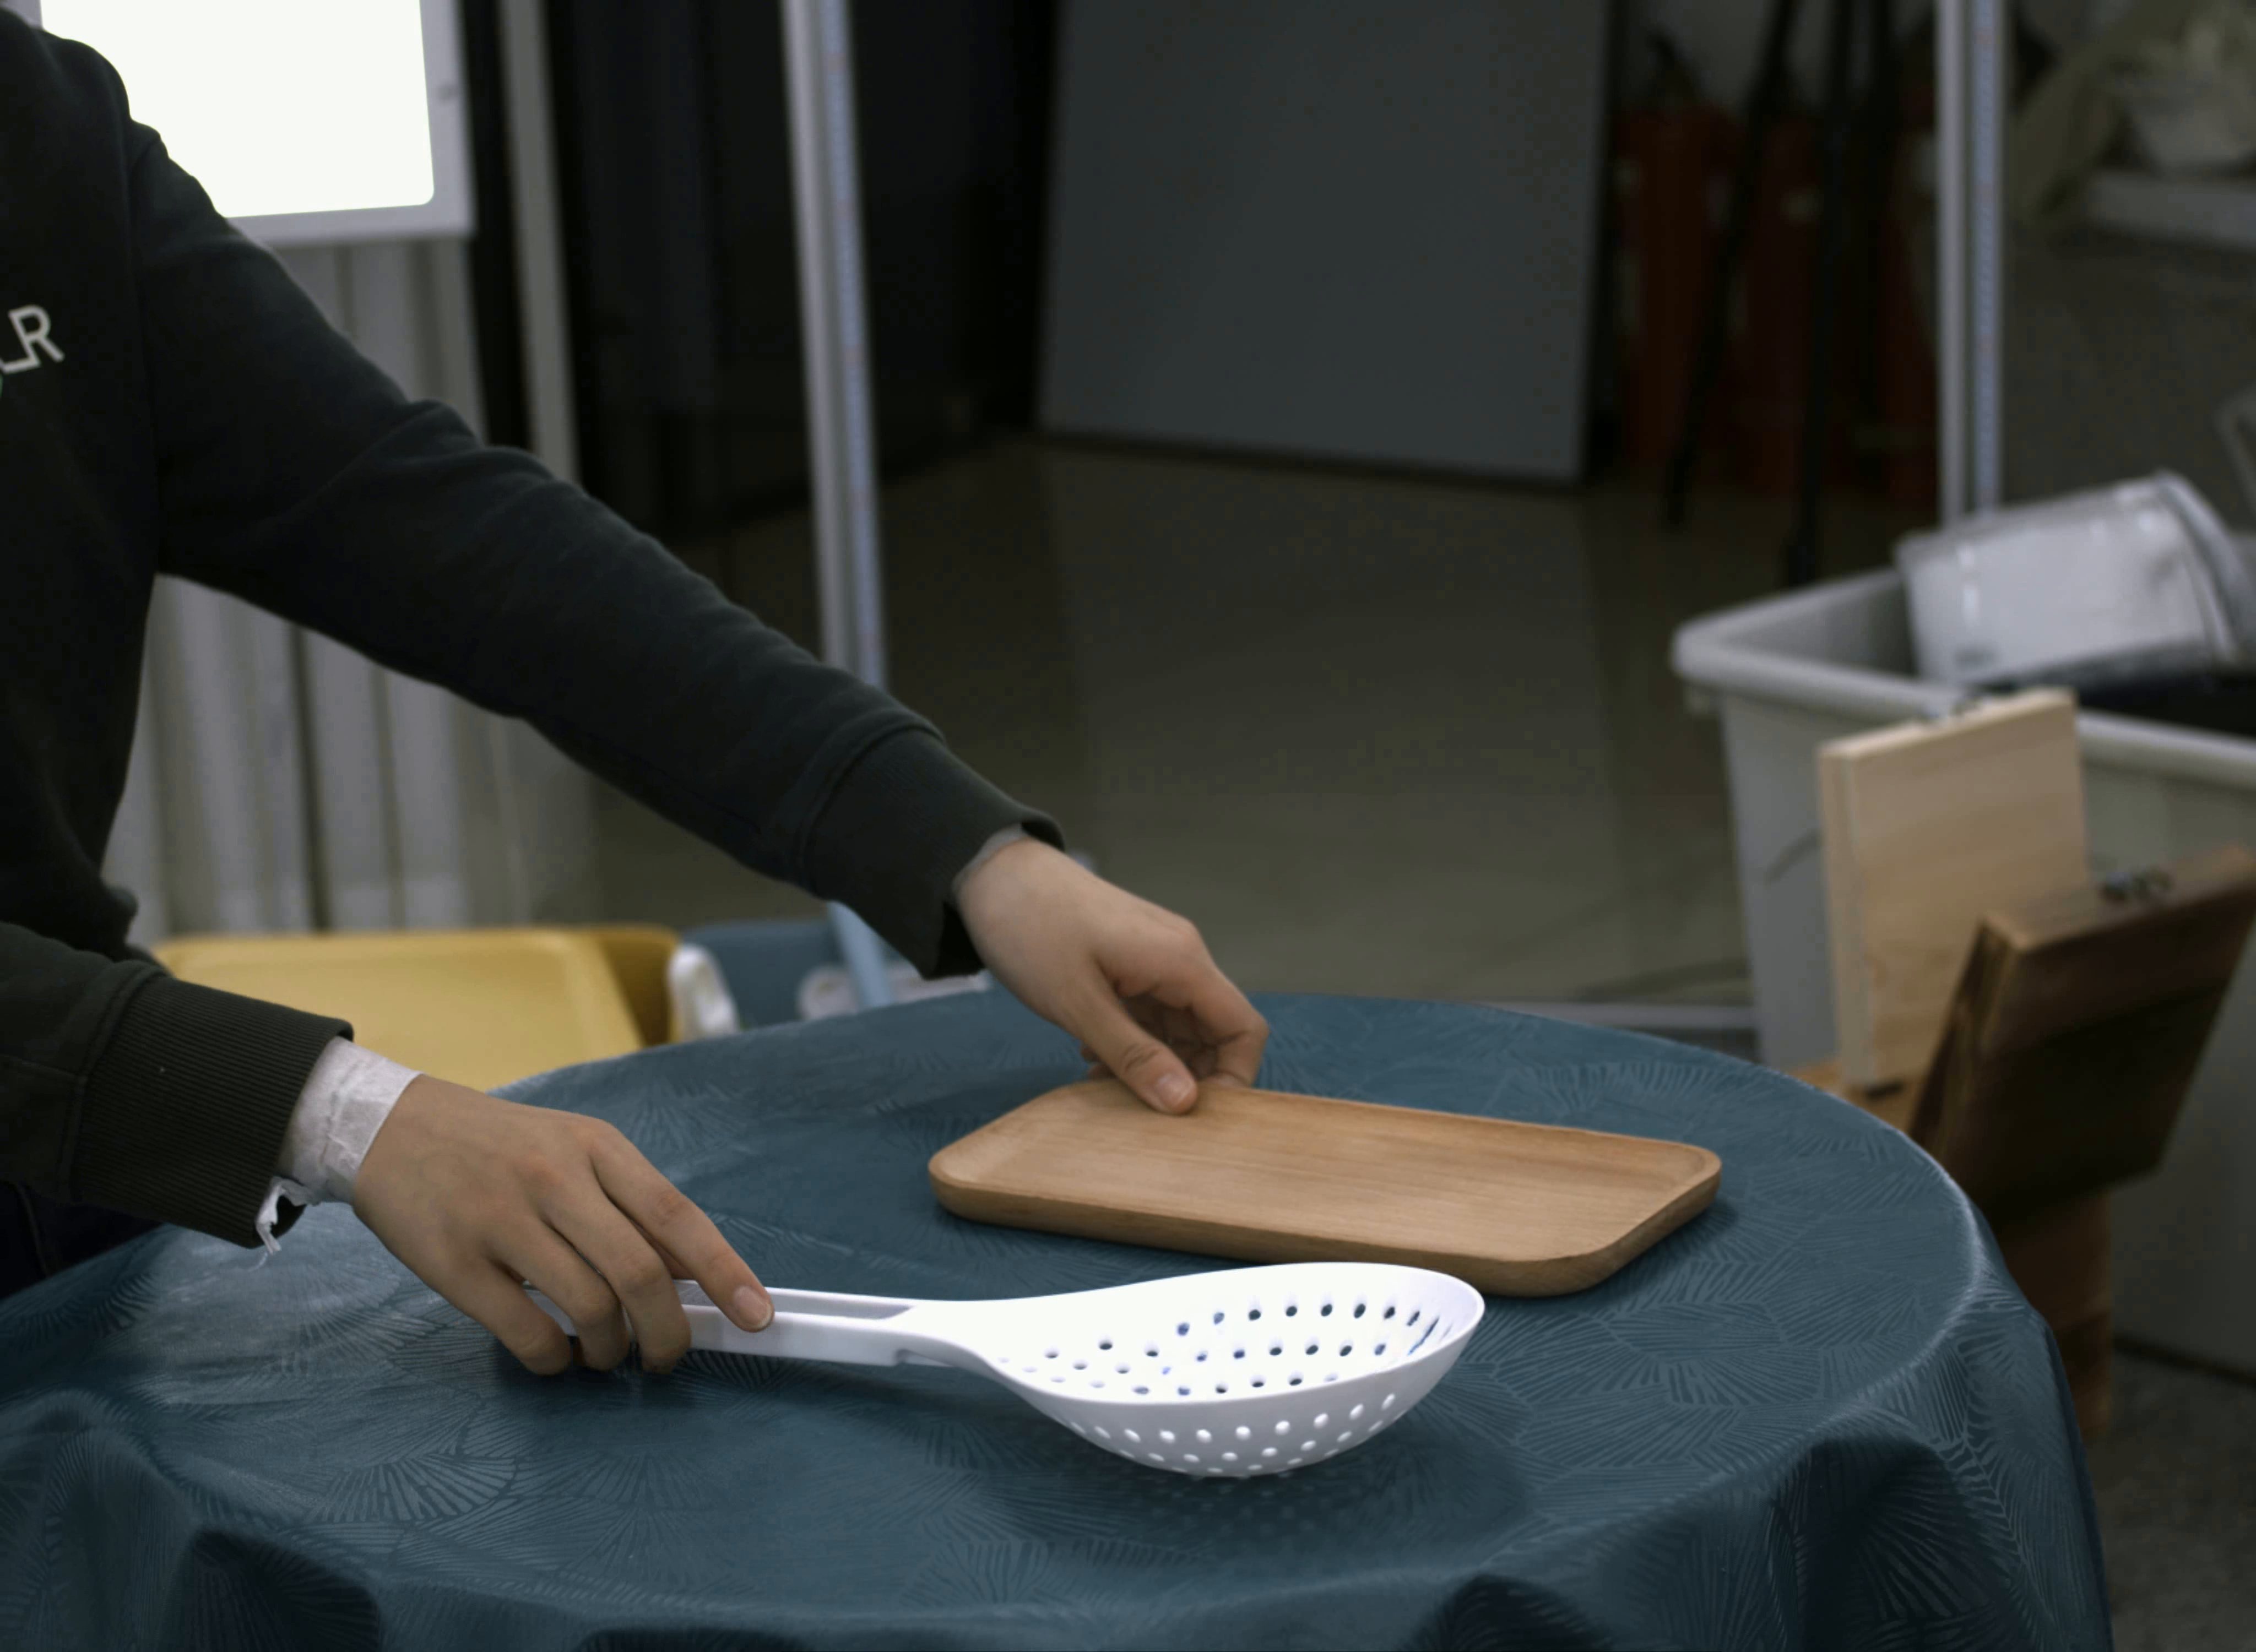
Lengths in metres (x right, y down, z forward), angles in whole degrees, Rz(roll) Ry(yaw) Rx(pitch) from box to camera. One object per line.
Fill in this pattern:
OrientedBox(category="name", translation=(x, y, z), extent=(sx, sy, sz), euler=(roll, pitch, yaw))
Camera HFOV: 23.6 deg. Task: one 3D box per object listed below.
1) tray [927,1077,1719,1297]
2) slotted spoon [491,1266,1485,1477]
OrientedBox(category="tray", translation=(0.062, 0.115, 1.741), extent=(0.252, 0.023, 0.128), euler=(4, 14, 33))
OrientedBox(category="slotted spoon", translation=(-0.052, 0.149, 1.579), extent=(0.352, 0.046, 0.133), euler=(5, 14, 36))
